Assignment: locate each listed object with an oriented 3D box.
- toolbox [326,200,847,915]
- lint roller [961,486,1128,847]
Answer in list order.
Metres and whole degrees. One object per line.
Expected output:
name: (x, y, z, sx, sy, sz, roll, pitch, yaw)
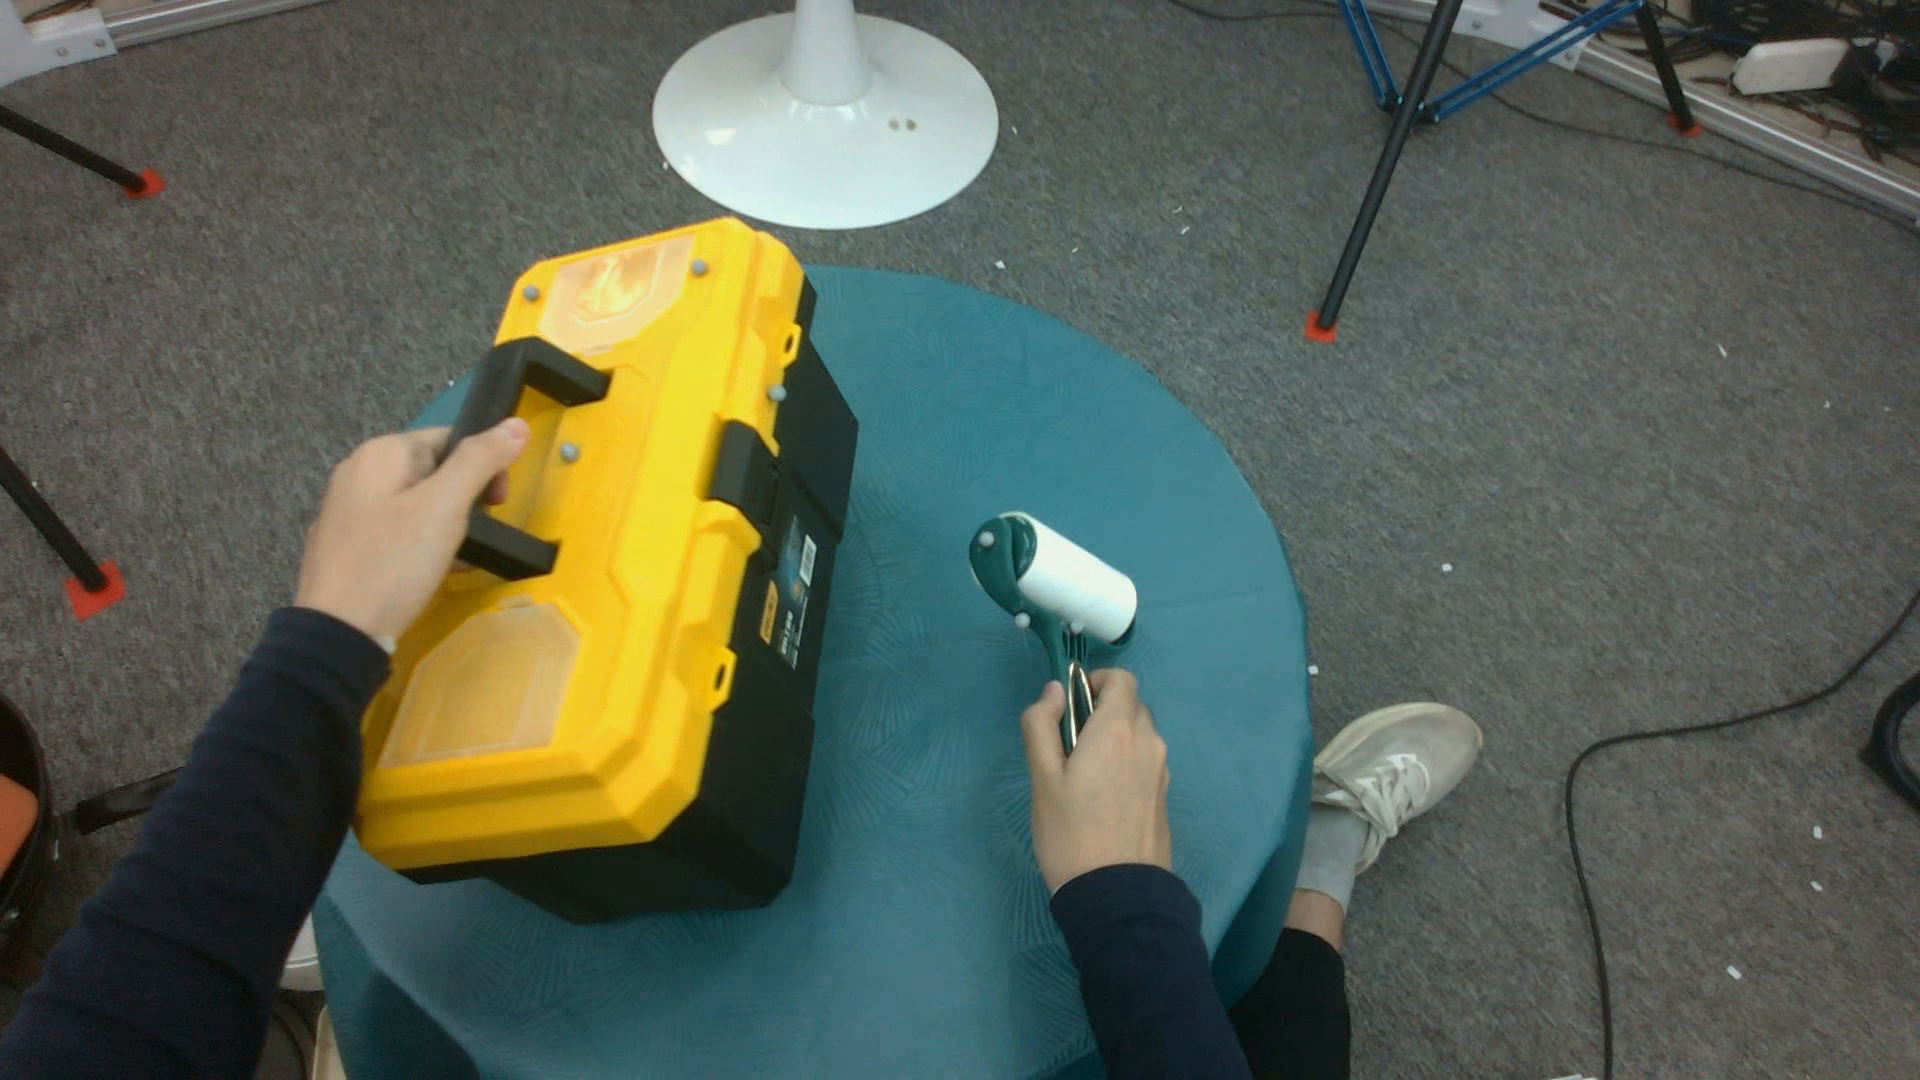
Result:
toolbox: (-0.165, 0.007, 0.711, 0.181, 0.172, 0.353, -11, 52, 20)
lint roller: (0.059, 0.070, 0.732, 0.048, 0.134, 0.181, -29, 55, 26)
